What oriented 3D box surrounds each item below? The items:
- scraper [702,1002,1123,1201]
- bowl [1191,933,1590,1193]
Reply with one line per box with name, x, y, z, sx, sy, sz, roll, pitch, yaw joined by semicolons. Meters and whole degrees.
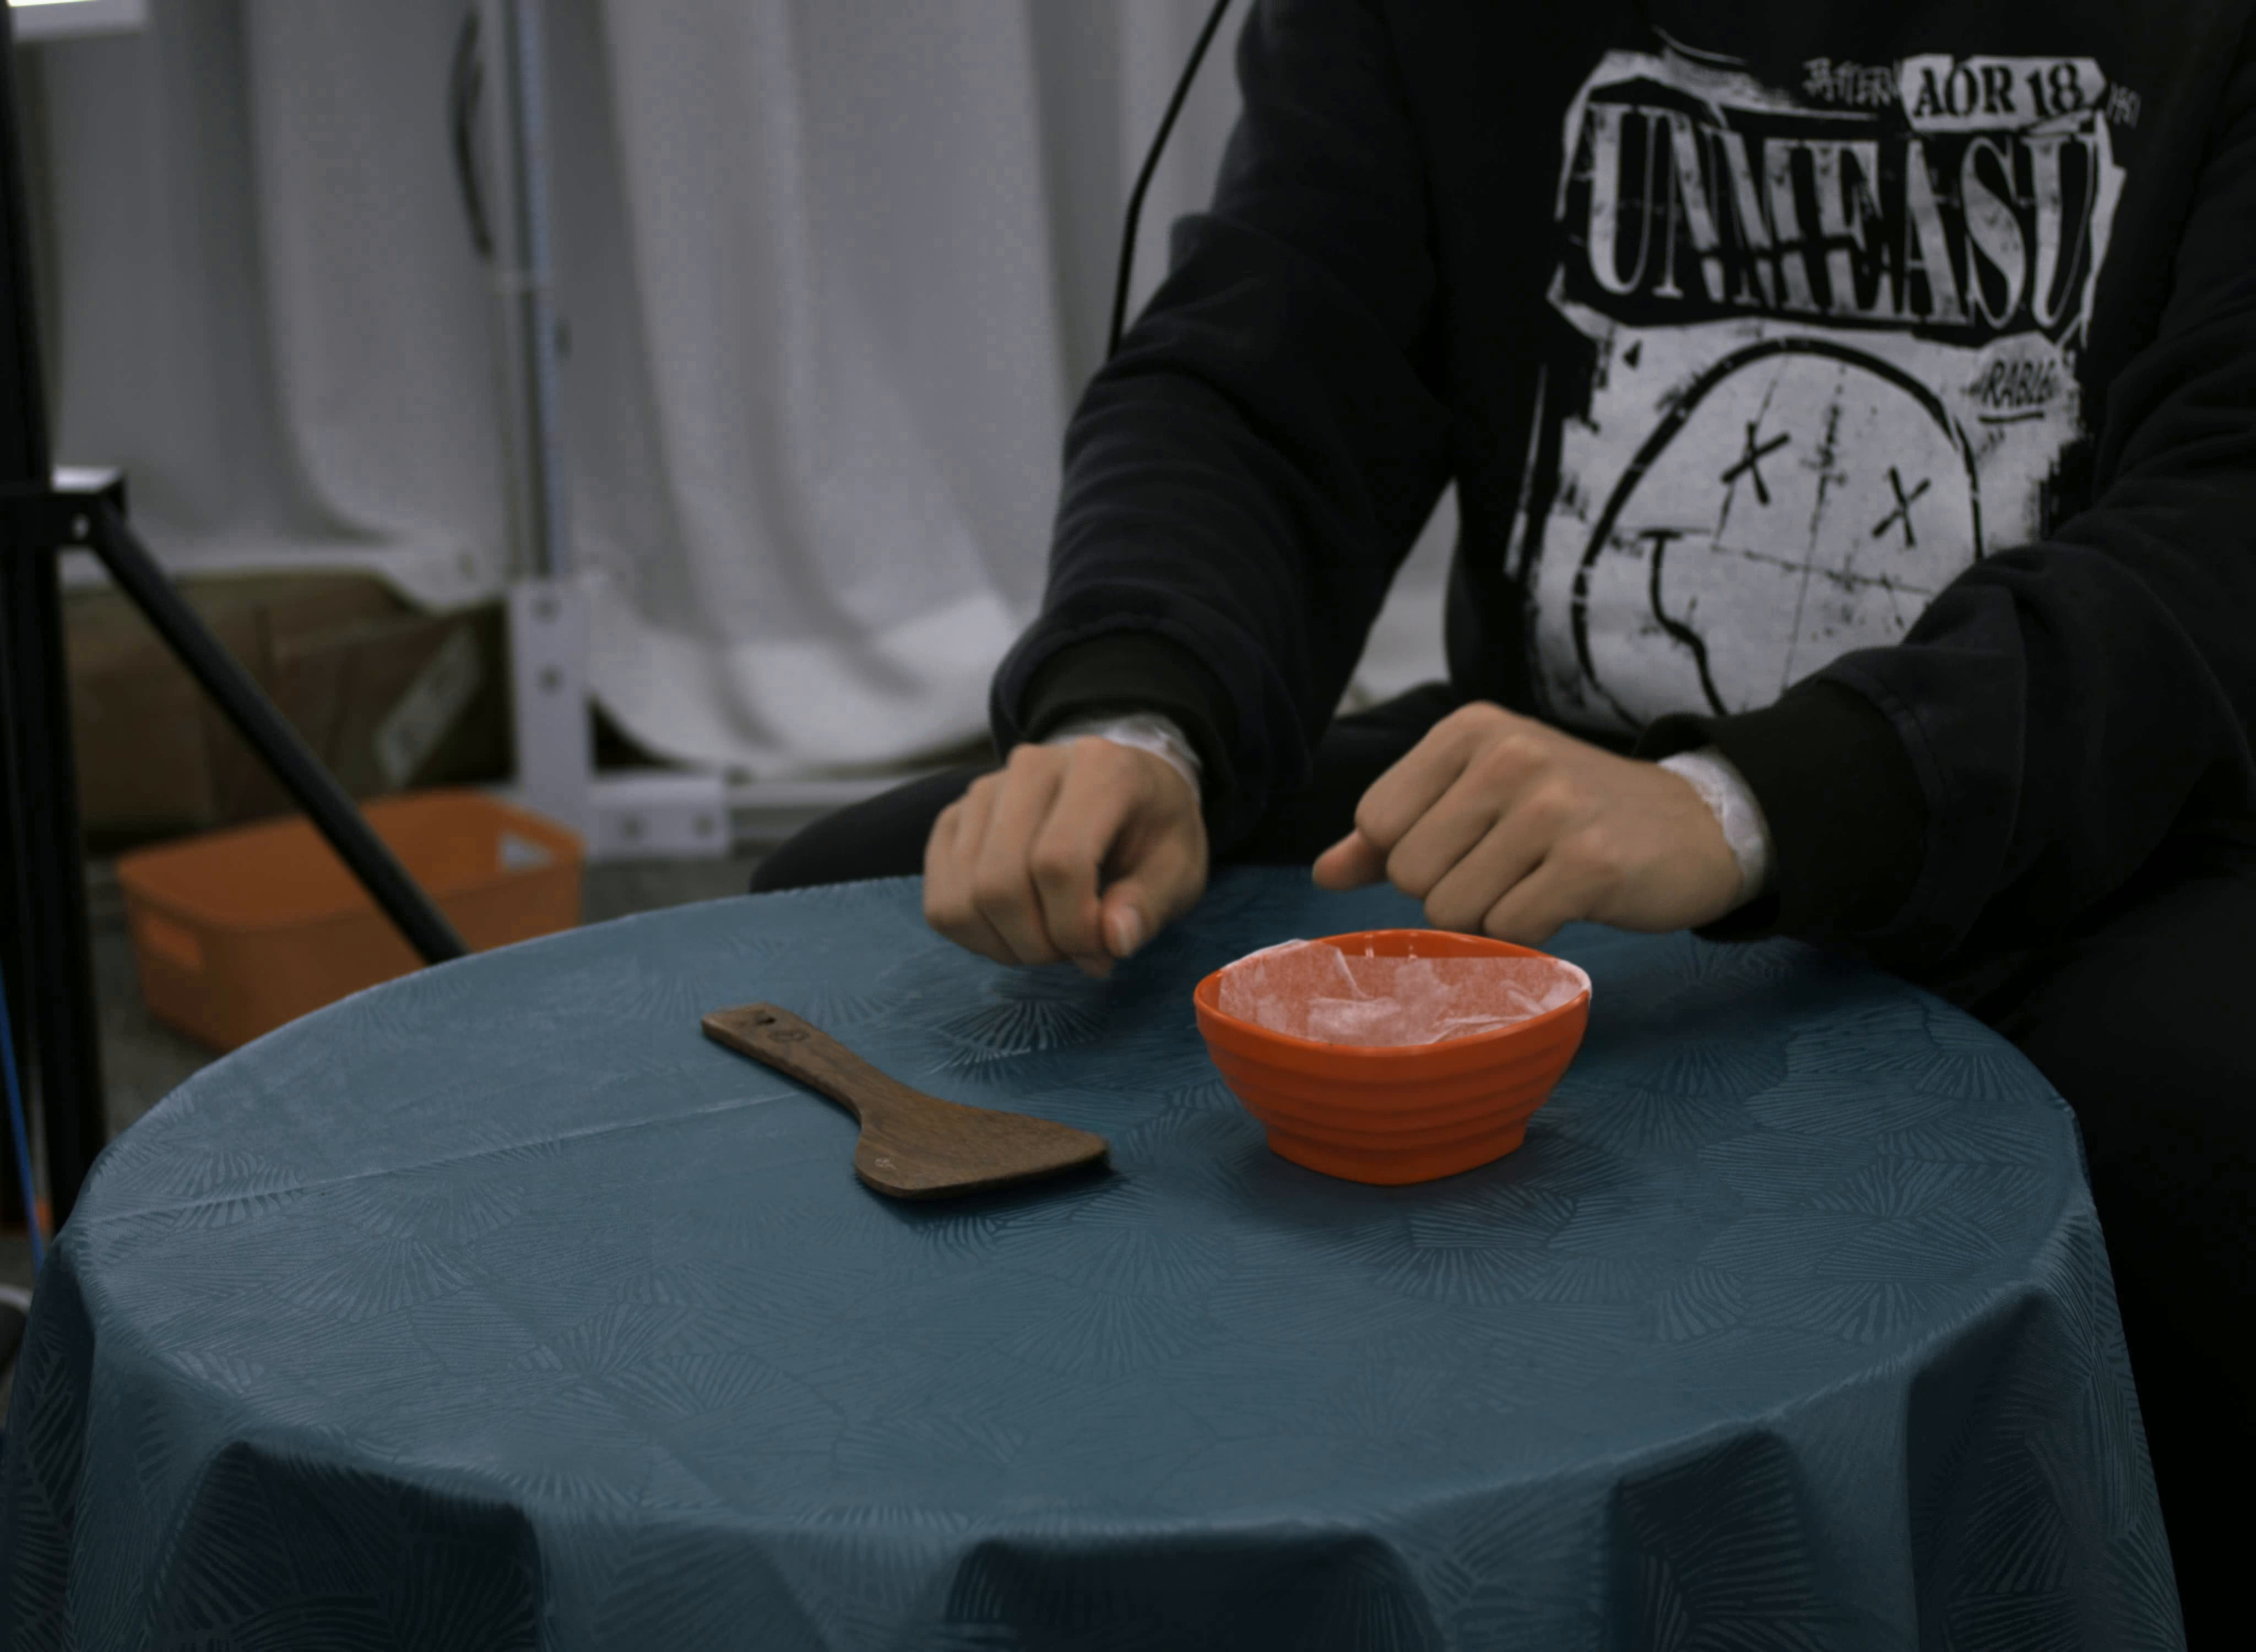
scraper;-0.079;0.083;1.644;0.074;0.011;0.216;-10;17;-26
bowl;0.079;0.073;1.582;0.118;0.051;0.119;-4;16;0
